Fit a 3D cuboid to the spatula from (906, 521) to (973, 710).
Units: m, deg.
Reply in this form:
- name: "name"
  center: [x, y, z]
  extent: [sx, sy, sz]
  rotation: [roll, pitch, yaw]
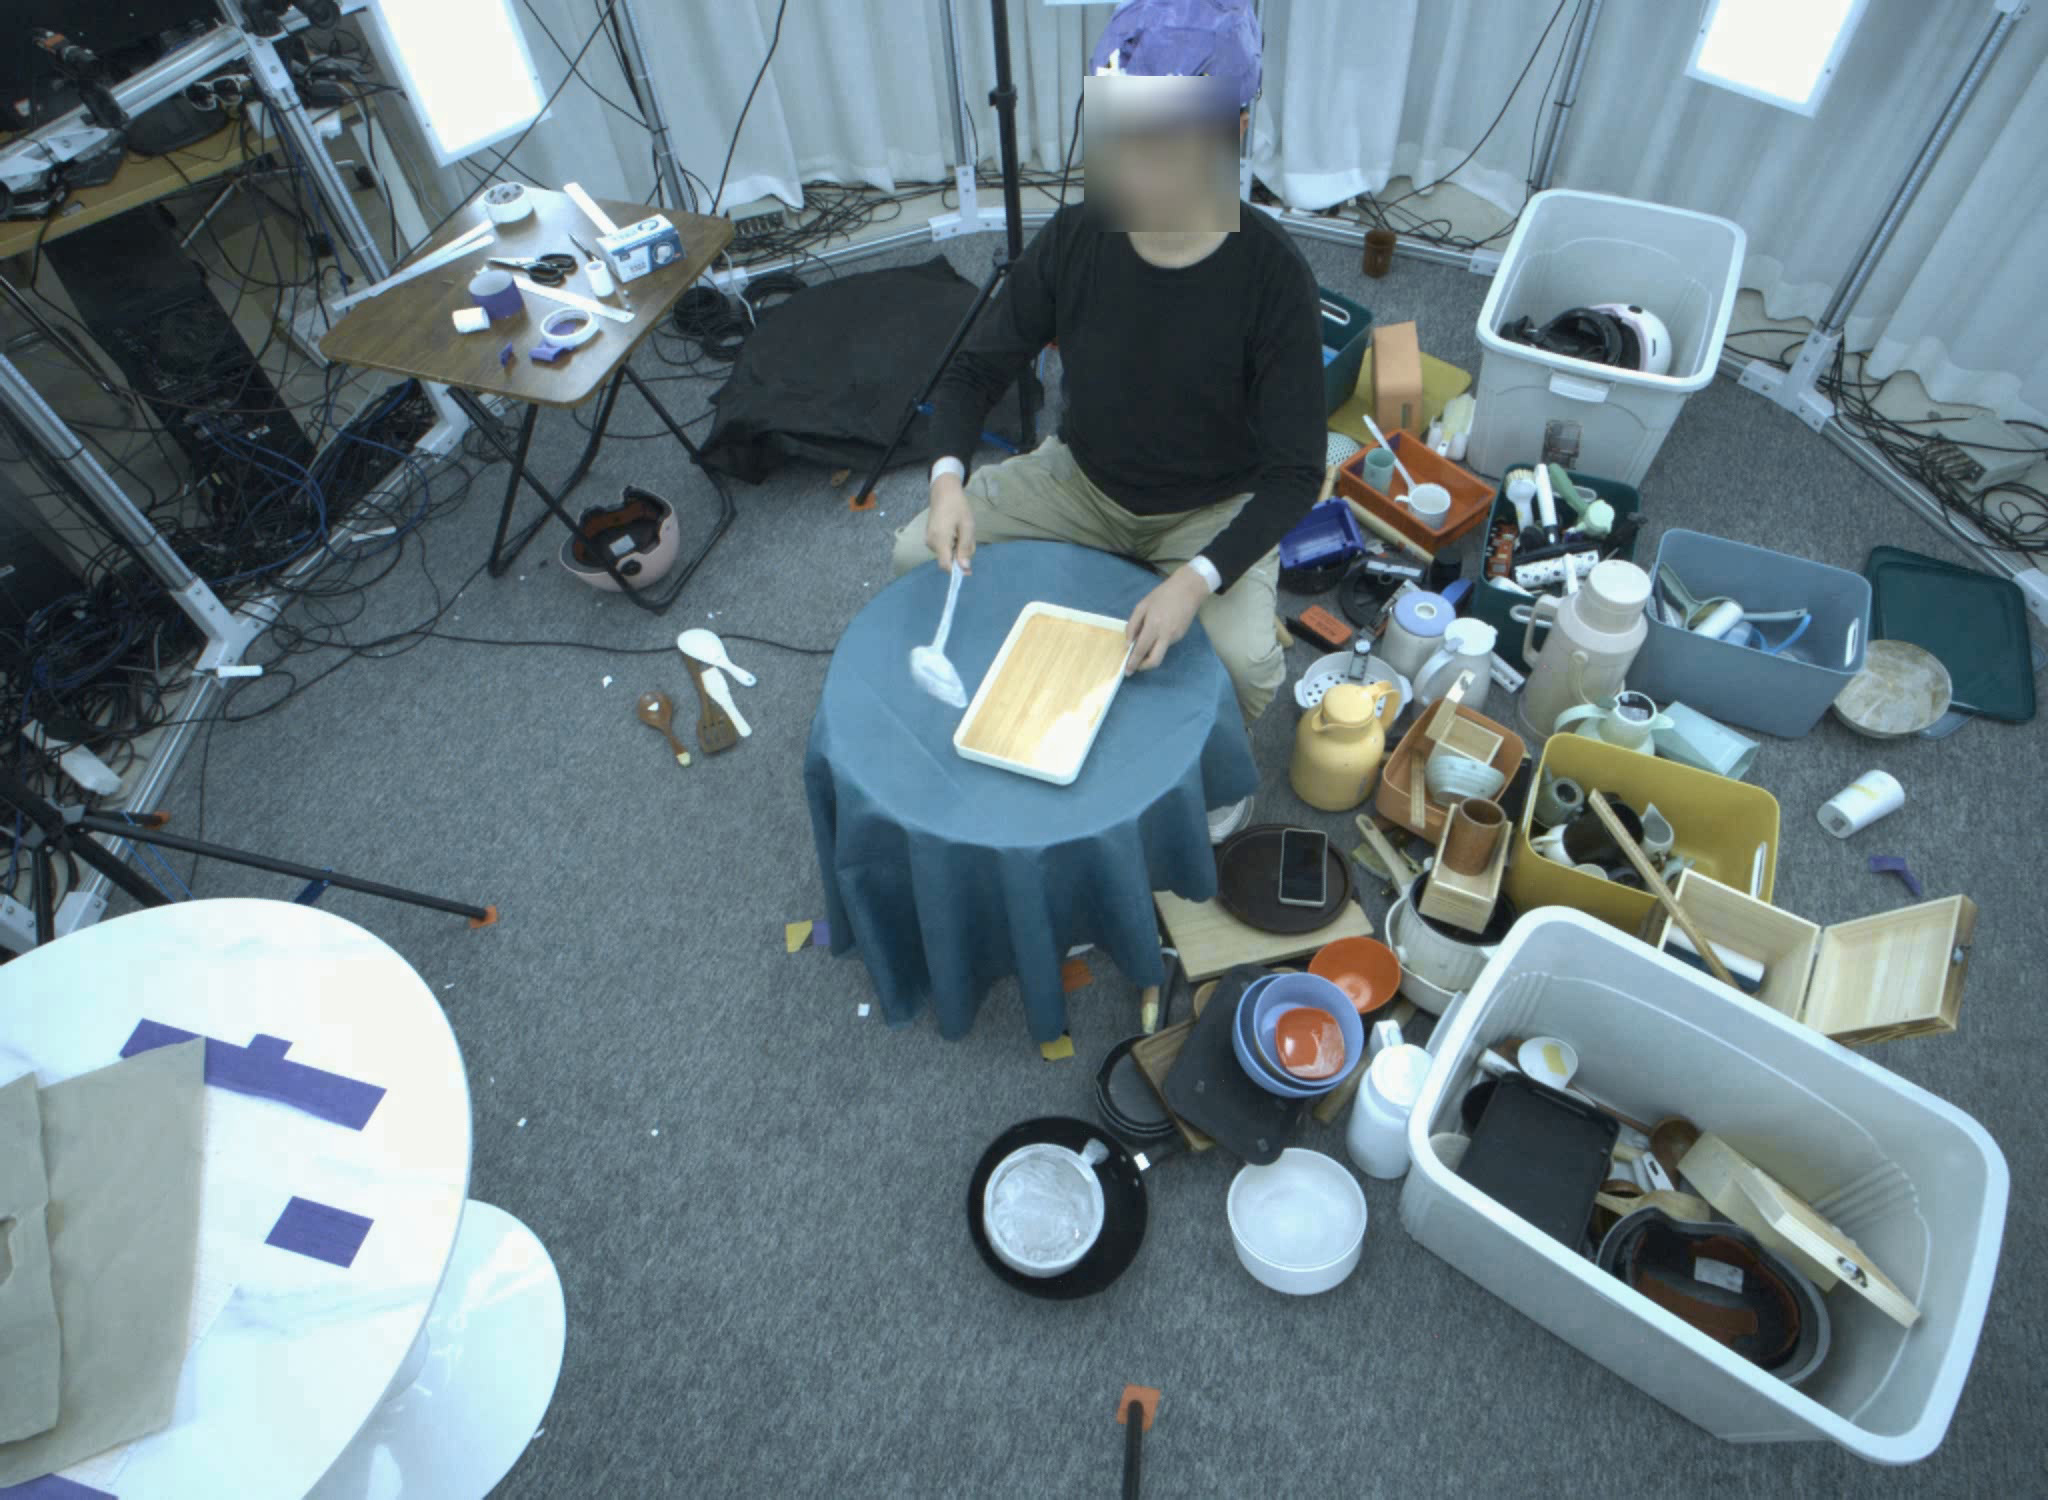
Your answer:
- name: "spatula"
  center: [-0.108, -0.213, 1.785]
  extent: [0.101, 0.044, 0.362]
  rotation: [29, 55, -29]

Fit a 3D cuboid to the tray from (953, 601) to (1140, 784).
- name: "tray"
  center: [0.038, -0.091, 1.826]
  extent: [0.189, 0.028, 0.300]
  rotation: [16, 58, 17]
